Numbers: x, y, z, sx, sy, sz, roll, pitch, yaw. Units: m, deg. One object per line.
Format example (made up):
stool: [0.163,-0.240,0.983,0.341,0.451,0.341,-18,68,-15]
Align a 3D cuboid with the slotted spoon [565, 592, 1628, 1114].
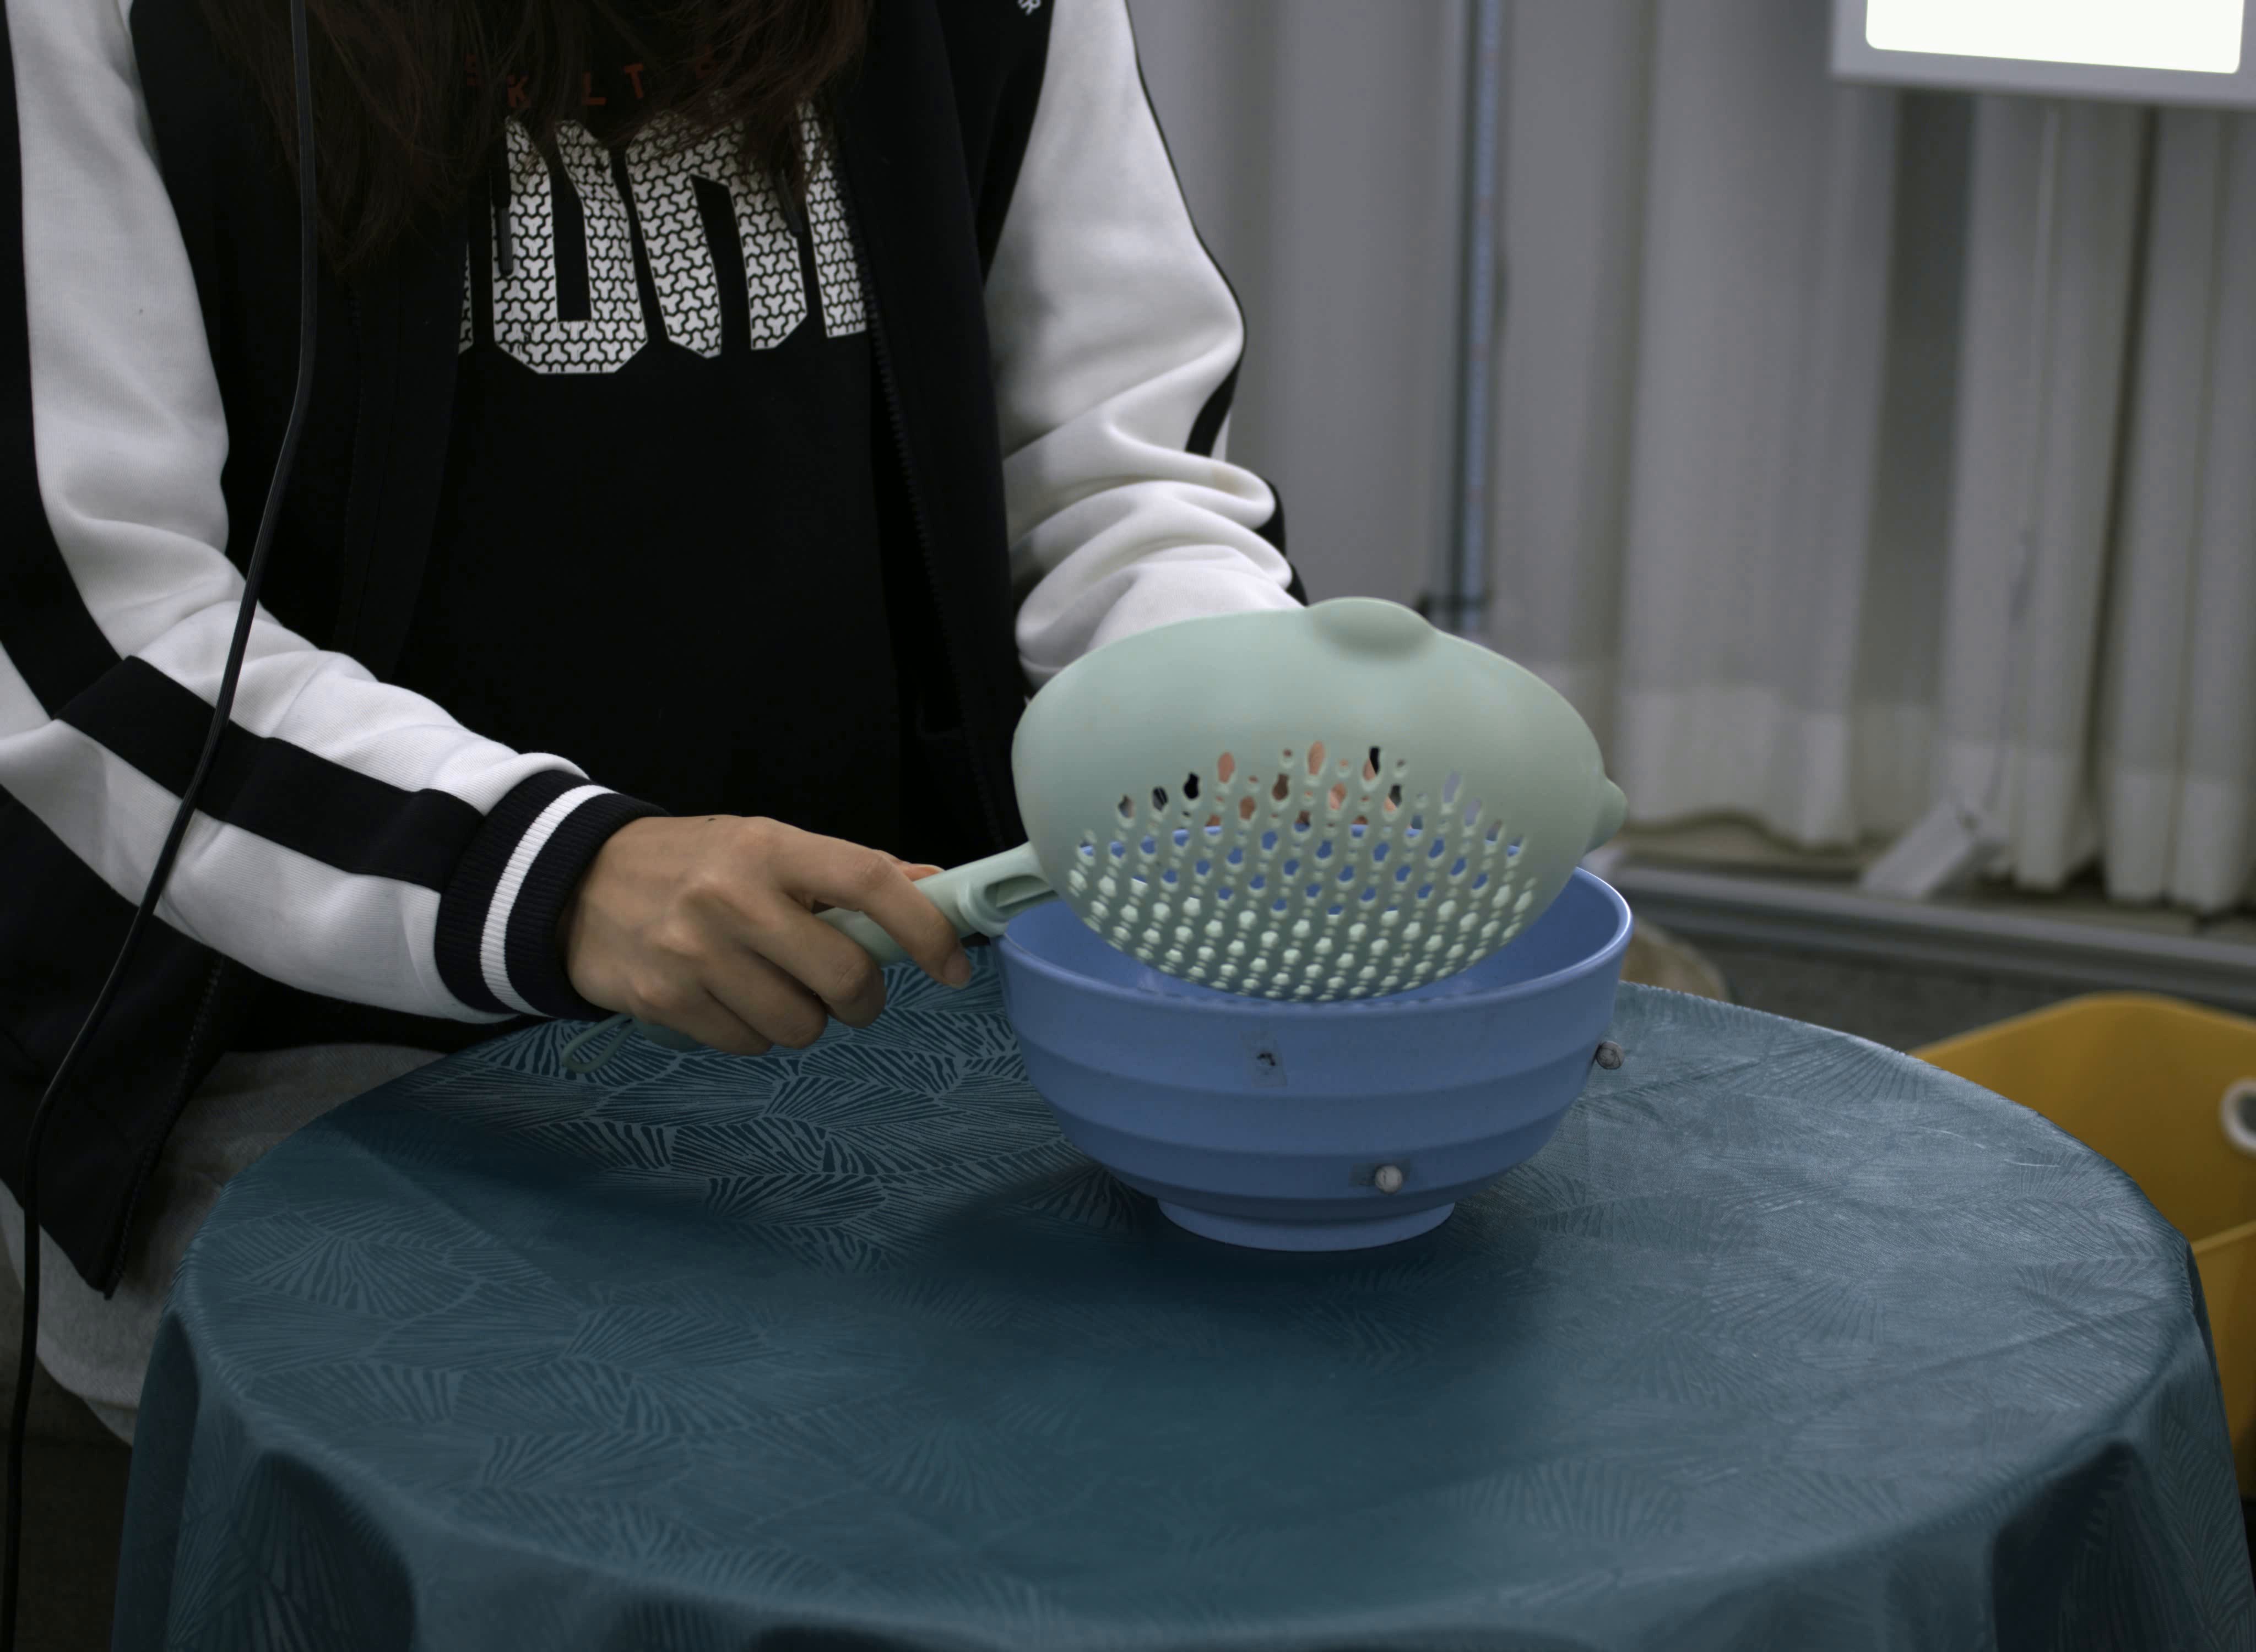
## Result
slotted spoon: [-0.027,0.024,1.543,0.355,0.075,0.171,-12,-34,36]

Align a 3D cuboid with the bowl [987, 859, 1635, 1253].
bowl: [0.055,0.070,1.599,0.196,0.096,0.195,0,16,1]
